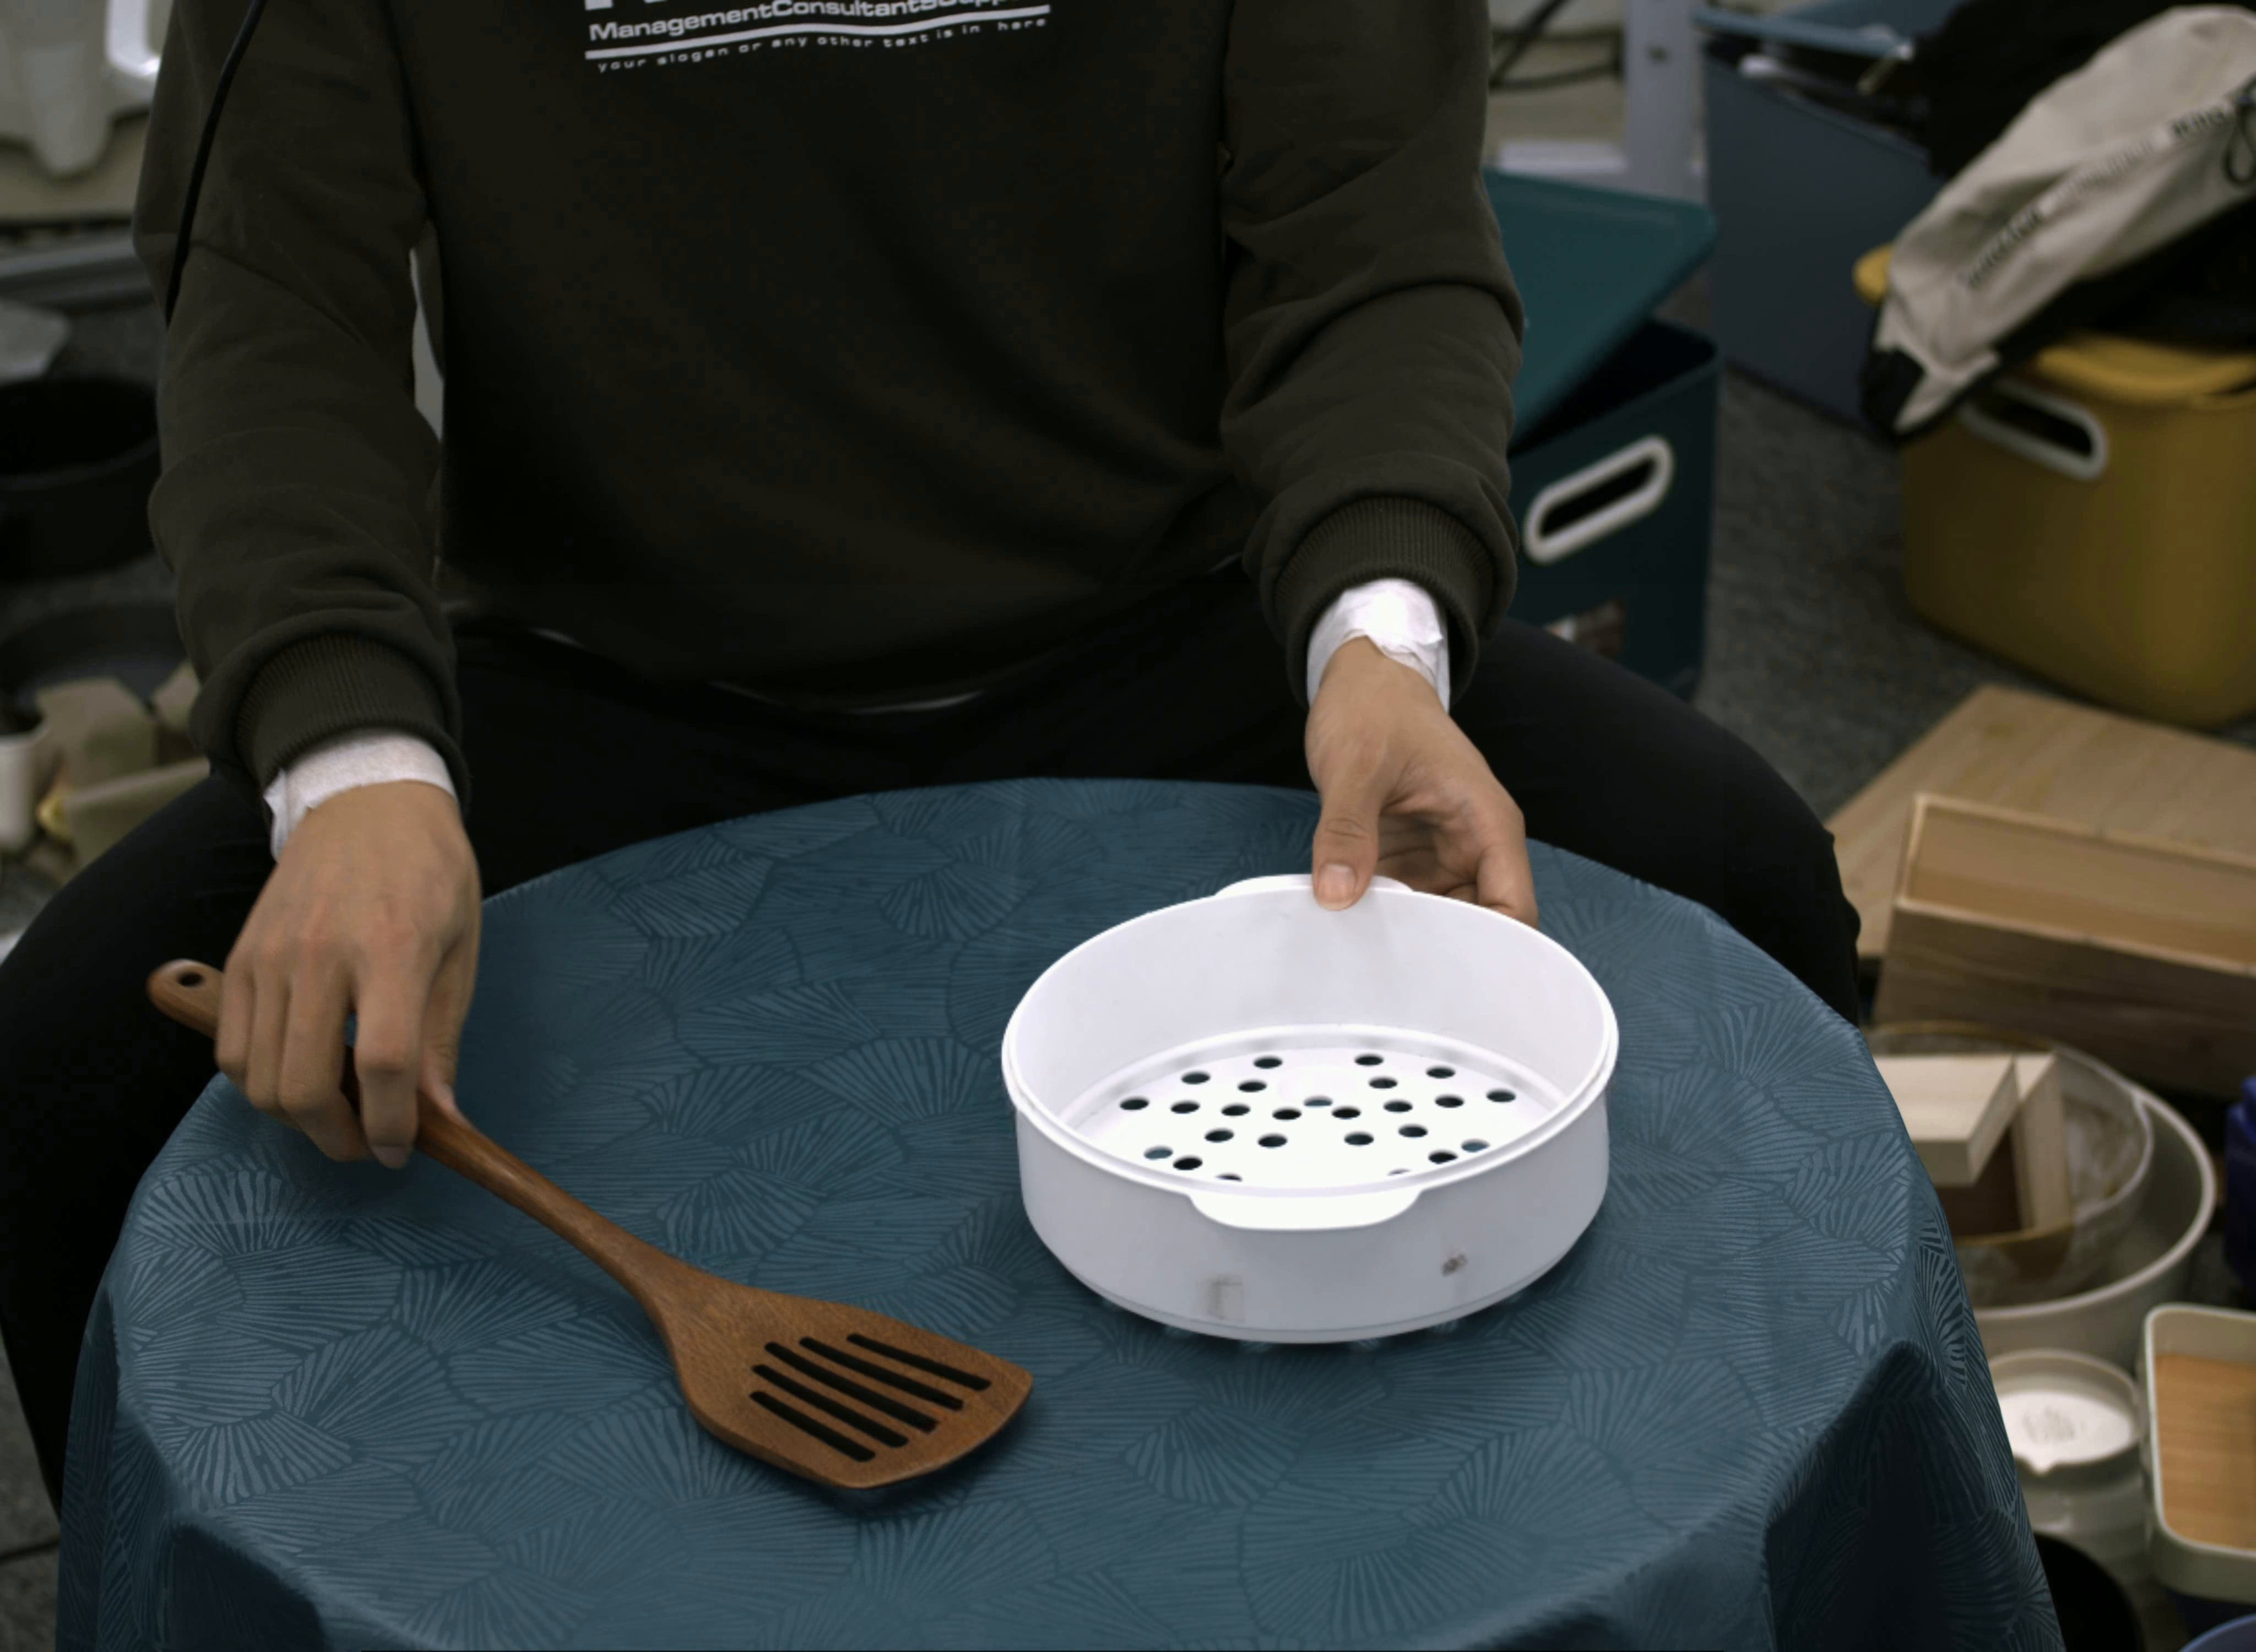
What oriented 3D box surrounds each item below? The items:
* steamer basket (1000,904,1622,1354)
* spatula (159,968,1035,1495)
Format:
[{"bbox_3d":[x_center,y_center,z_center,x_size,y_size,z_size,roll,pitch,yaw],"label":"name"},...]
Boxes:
[{"bbox_3d":[0.059,0.100,1.832,0.201,0.068,0.234,1,24,2],"label":"steamer basket"},{"bbox_3d":[-0.190,0.127,1.822,0.385,0.023,0.087,27,38,35],"label":"spatula"}]
